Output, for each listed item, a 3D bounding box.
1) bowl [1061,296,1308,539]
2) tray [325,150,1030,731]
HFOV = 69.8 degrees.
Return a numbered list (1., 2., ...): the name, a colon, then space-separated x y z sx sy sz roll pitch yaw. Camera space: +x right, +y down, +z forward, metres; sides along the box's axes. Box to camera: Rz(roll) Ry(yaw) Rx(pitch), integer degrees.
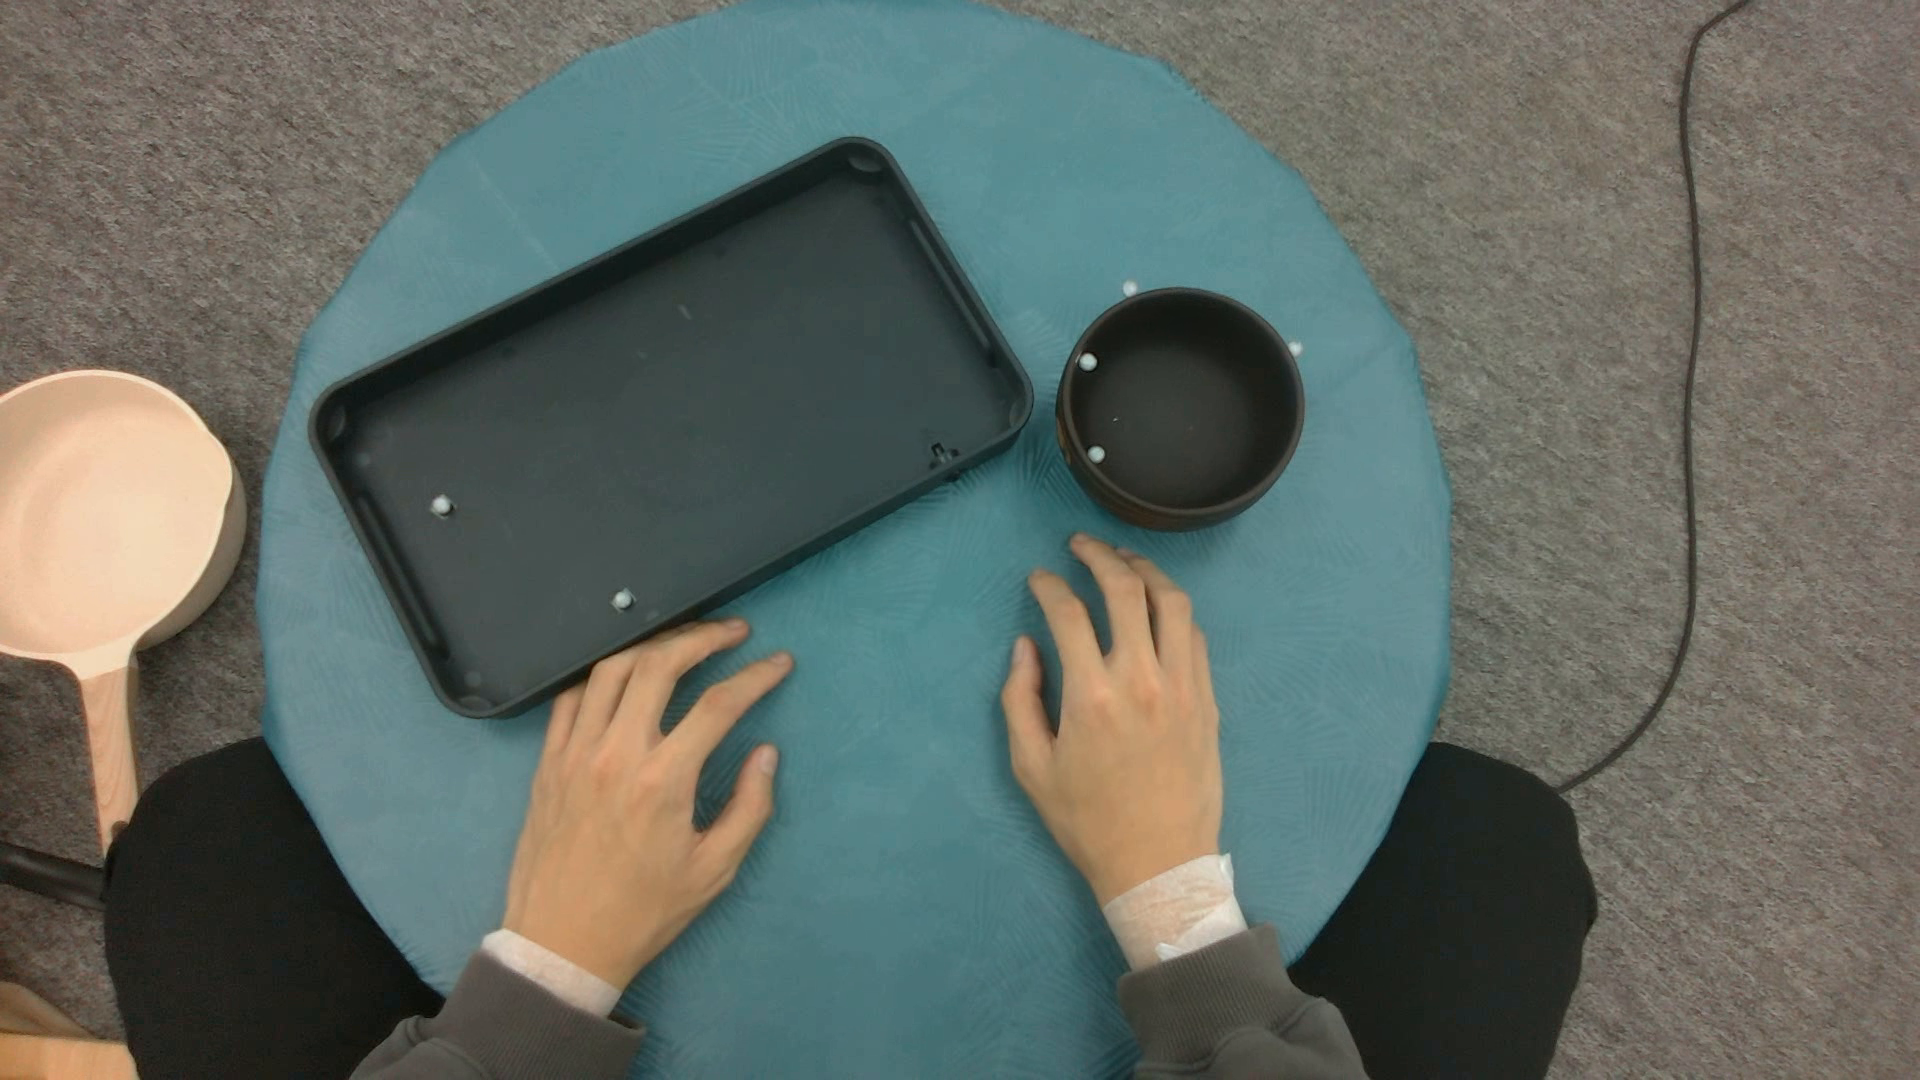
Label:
1. bowl: 0.109 -0.056 0.691 0.118 0.069 0.118 0 78 -2
2. tray: -0.139 -0.054 0.702 0.318 0.037 0.184 -31 79 -9
